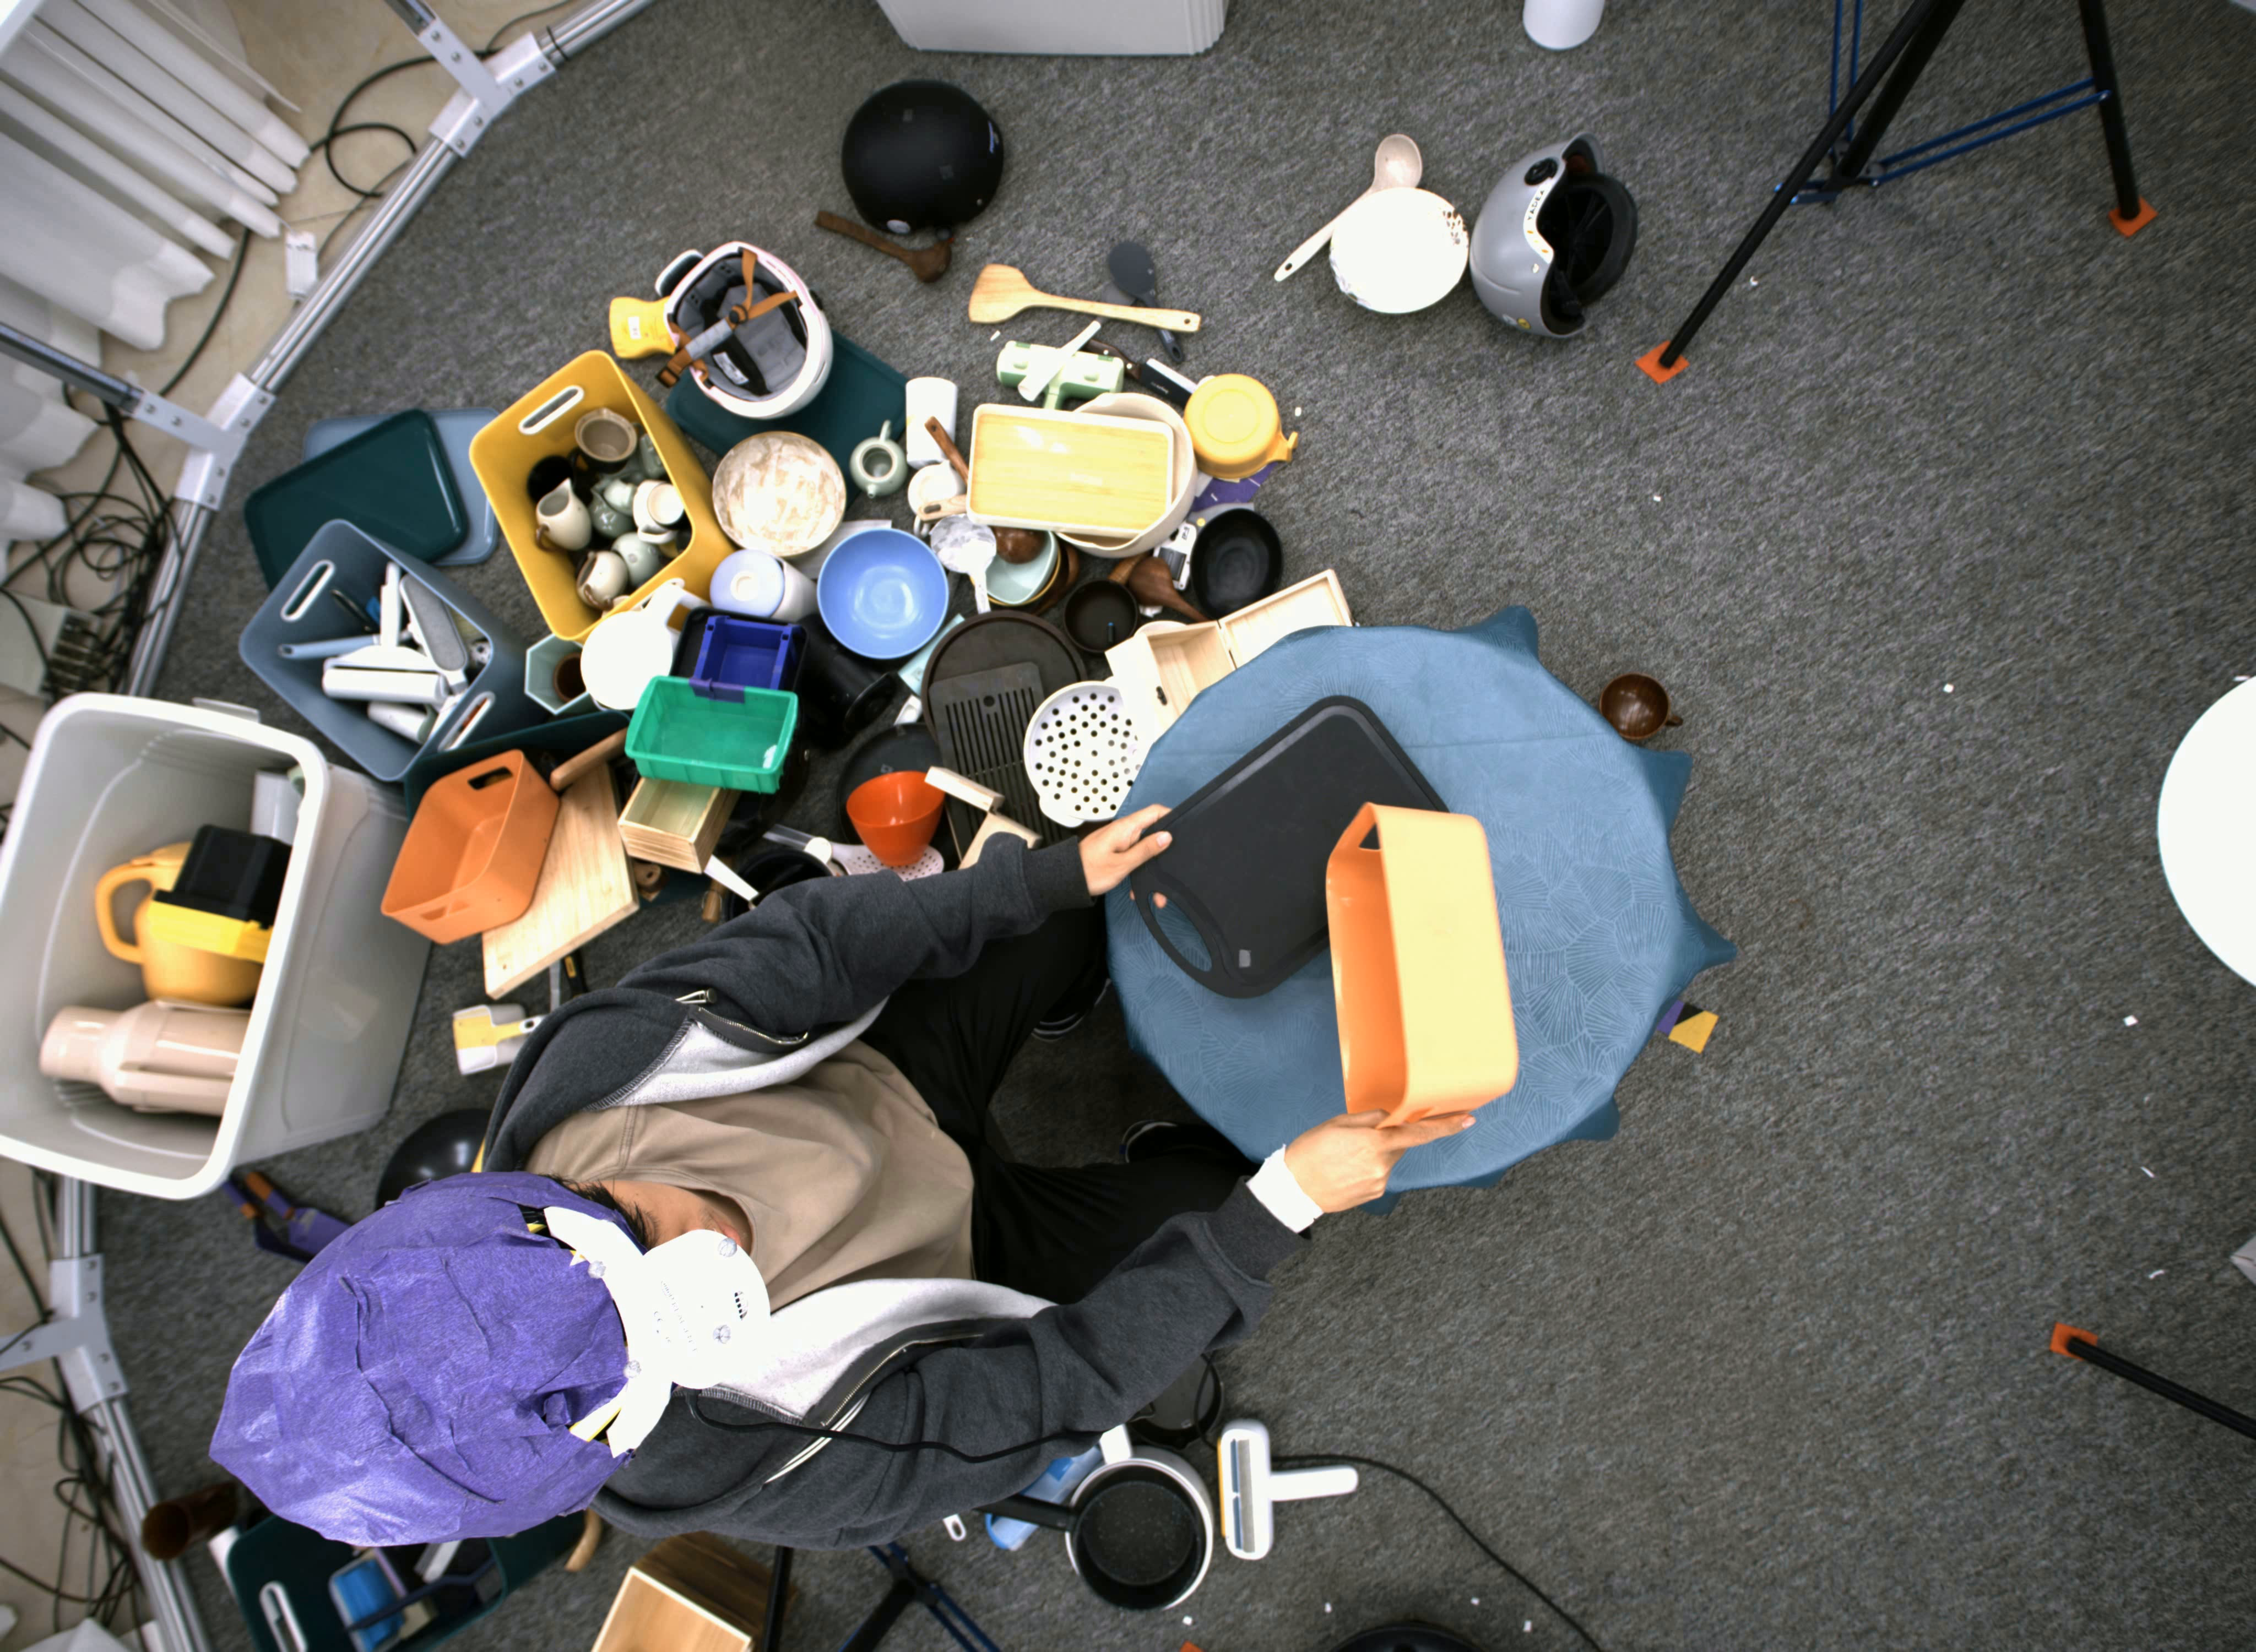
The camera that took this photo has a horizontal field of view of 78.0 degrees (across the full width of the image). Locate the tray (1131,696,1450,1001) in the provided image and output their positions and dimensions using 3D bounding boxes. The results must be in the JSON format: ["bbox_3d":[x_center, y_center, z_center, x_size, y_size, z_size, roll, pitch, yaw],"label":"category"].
[{"bbox_3d":[0.164,0.027,1.421,0.325,0.010,0.211,-37,88,-1],"label":"tray"}]

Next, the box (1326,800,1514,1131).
[{"bbox_3d":[0.255,0.125,1.227,0.102,0.203,0.268,-1,68,-6],"label":"box"}]
